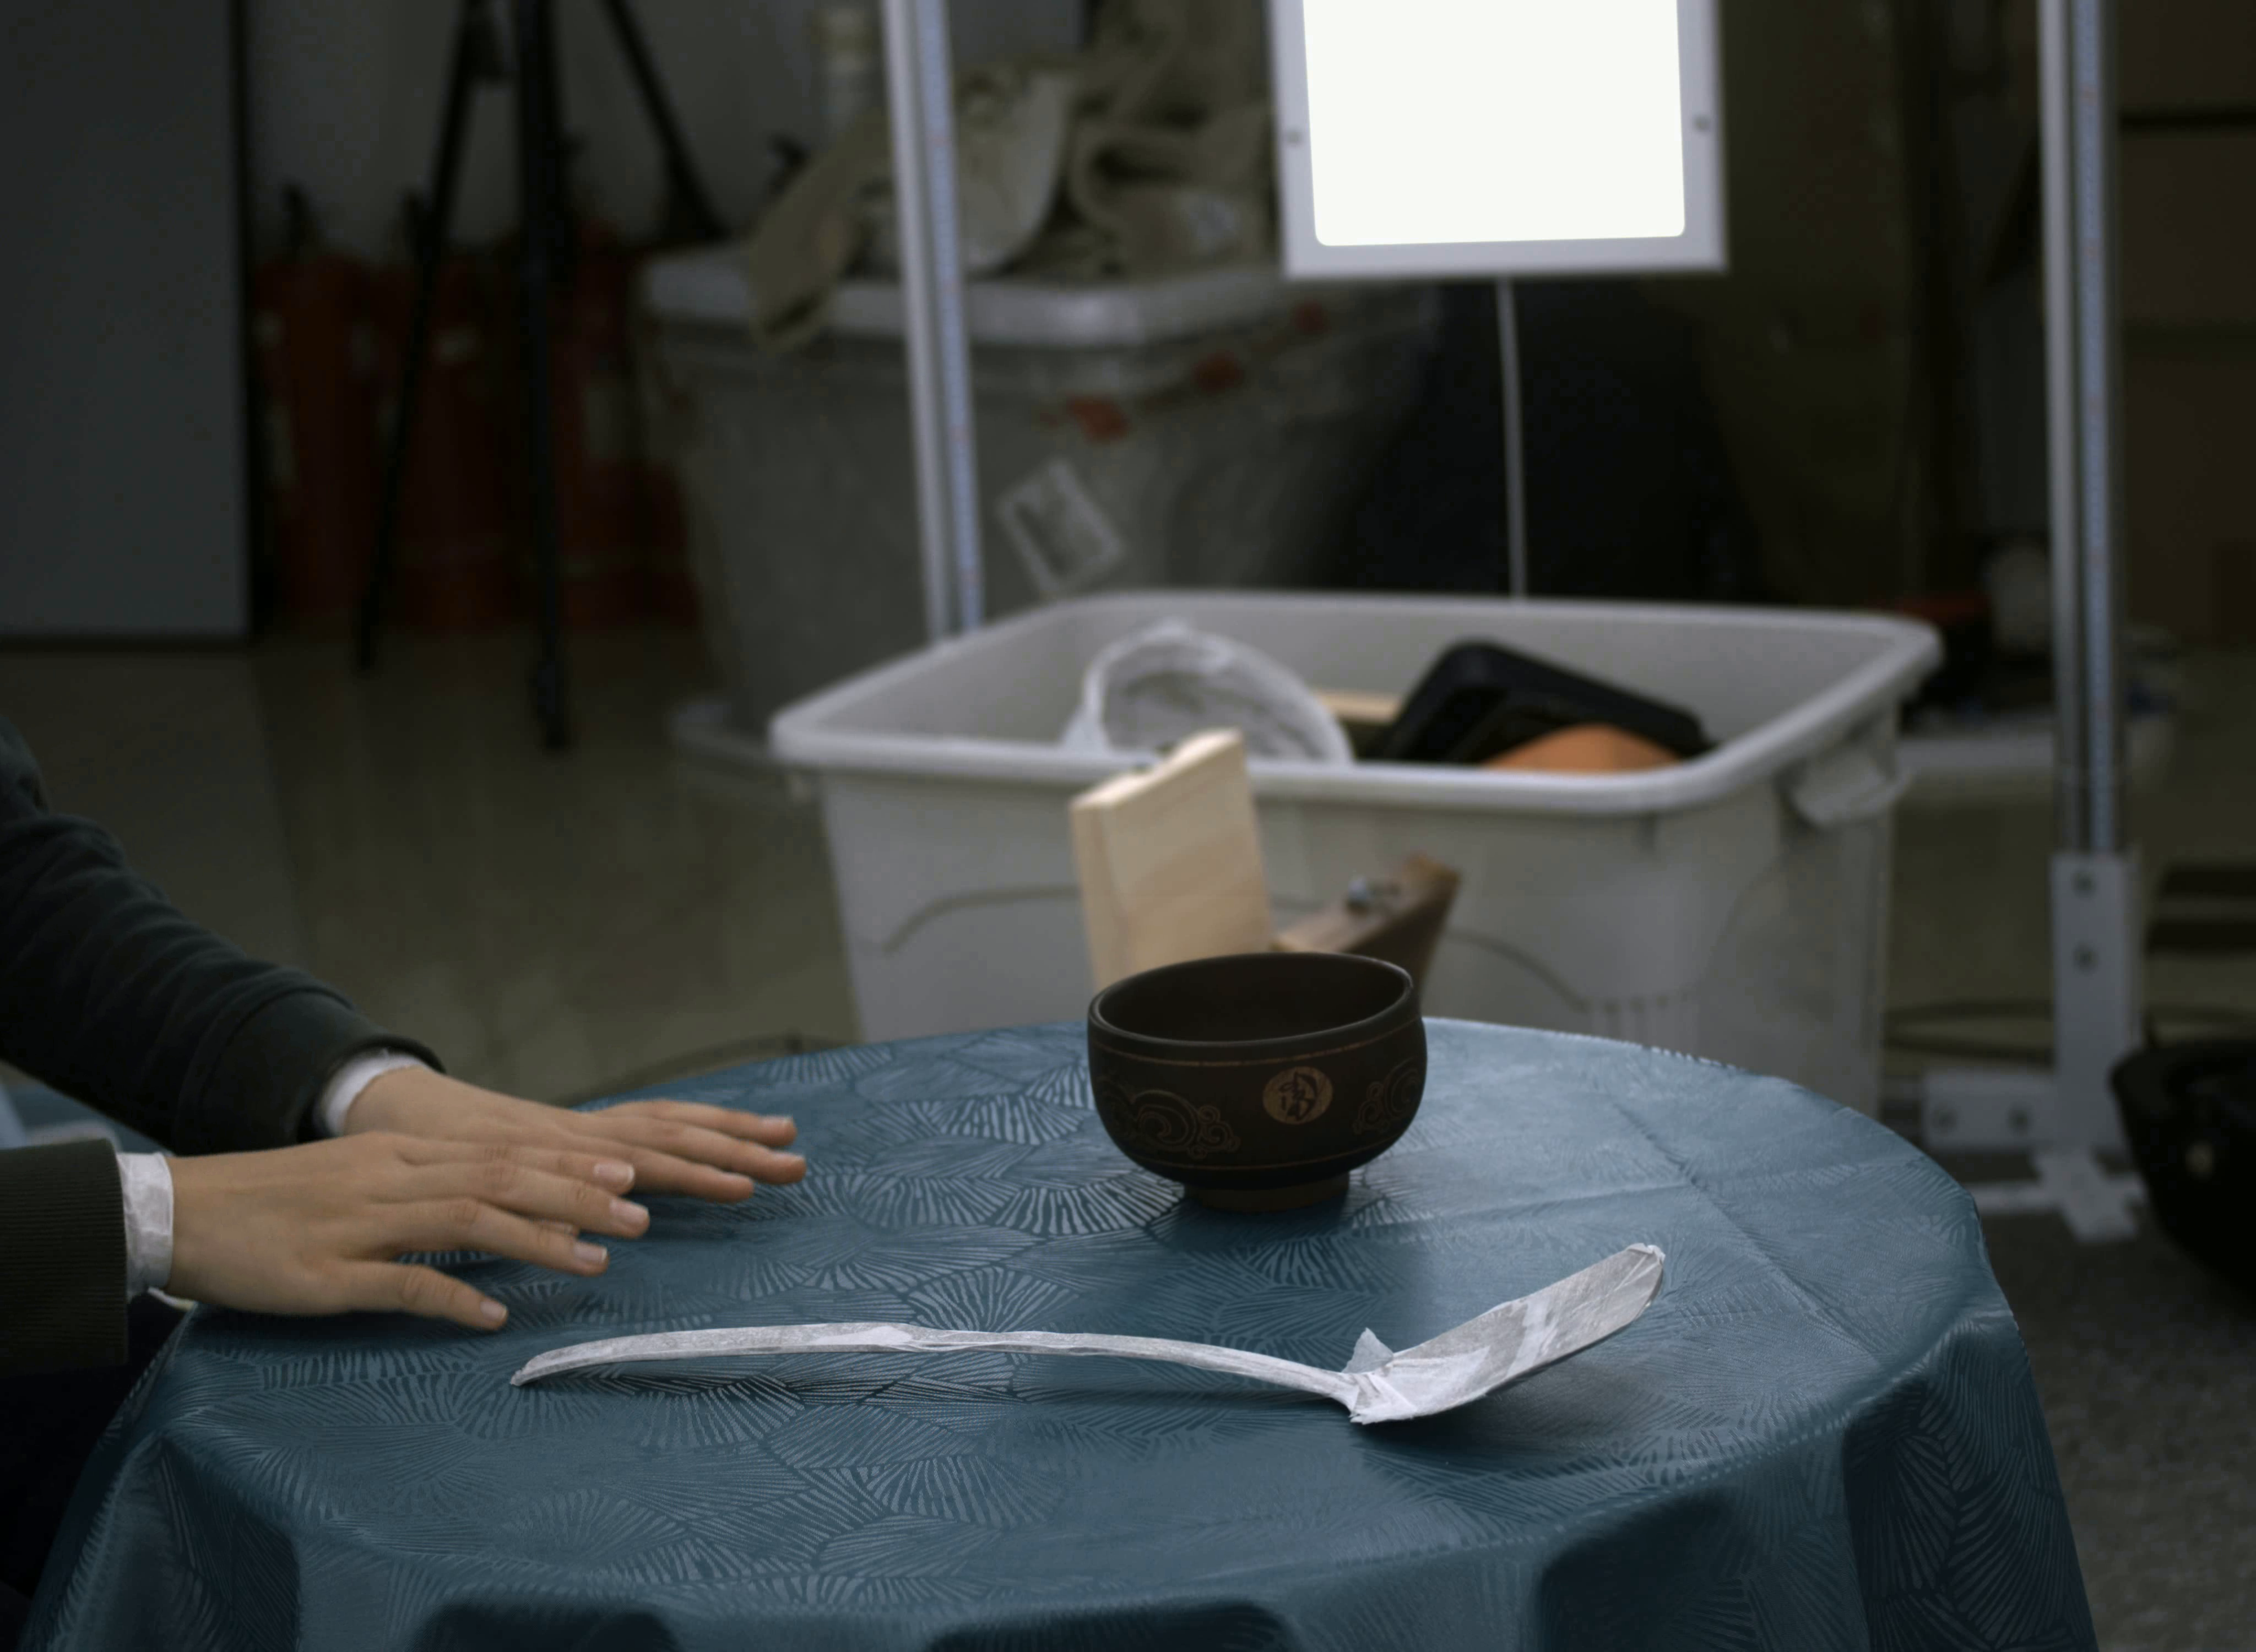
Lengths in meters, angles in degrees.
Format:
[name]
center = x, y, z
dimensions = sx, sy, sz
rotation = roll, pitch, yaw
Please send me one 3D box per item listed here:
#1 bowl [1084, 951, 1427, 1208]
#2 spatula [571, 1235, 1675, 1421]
[bowl]
center = 0.045, 0.090, 1.881
dimensions = 0.118, 0.070, 0.118
rotation = -5, 12, 0
[spatula]
center = -0.011, 0.155, 1.702
dimensions = 0.369, 0.045, 0.097
rotation = 0, 17, 20
